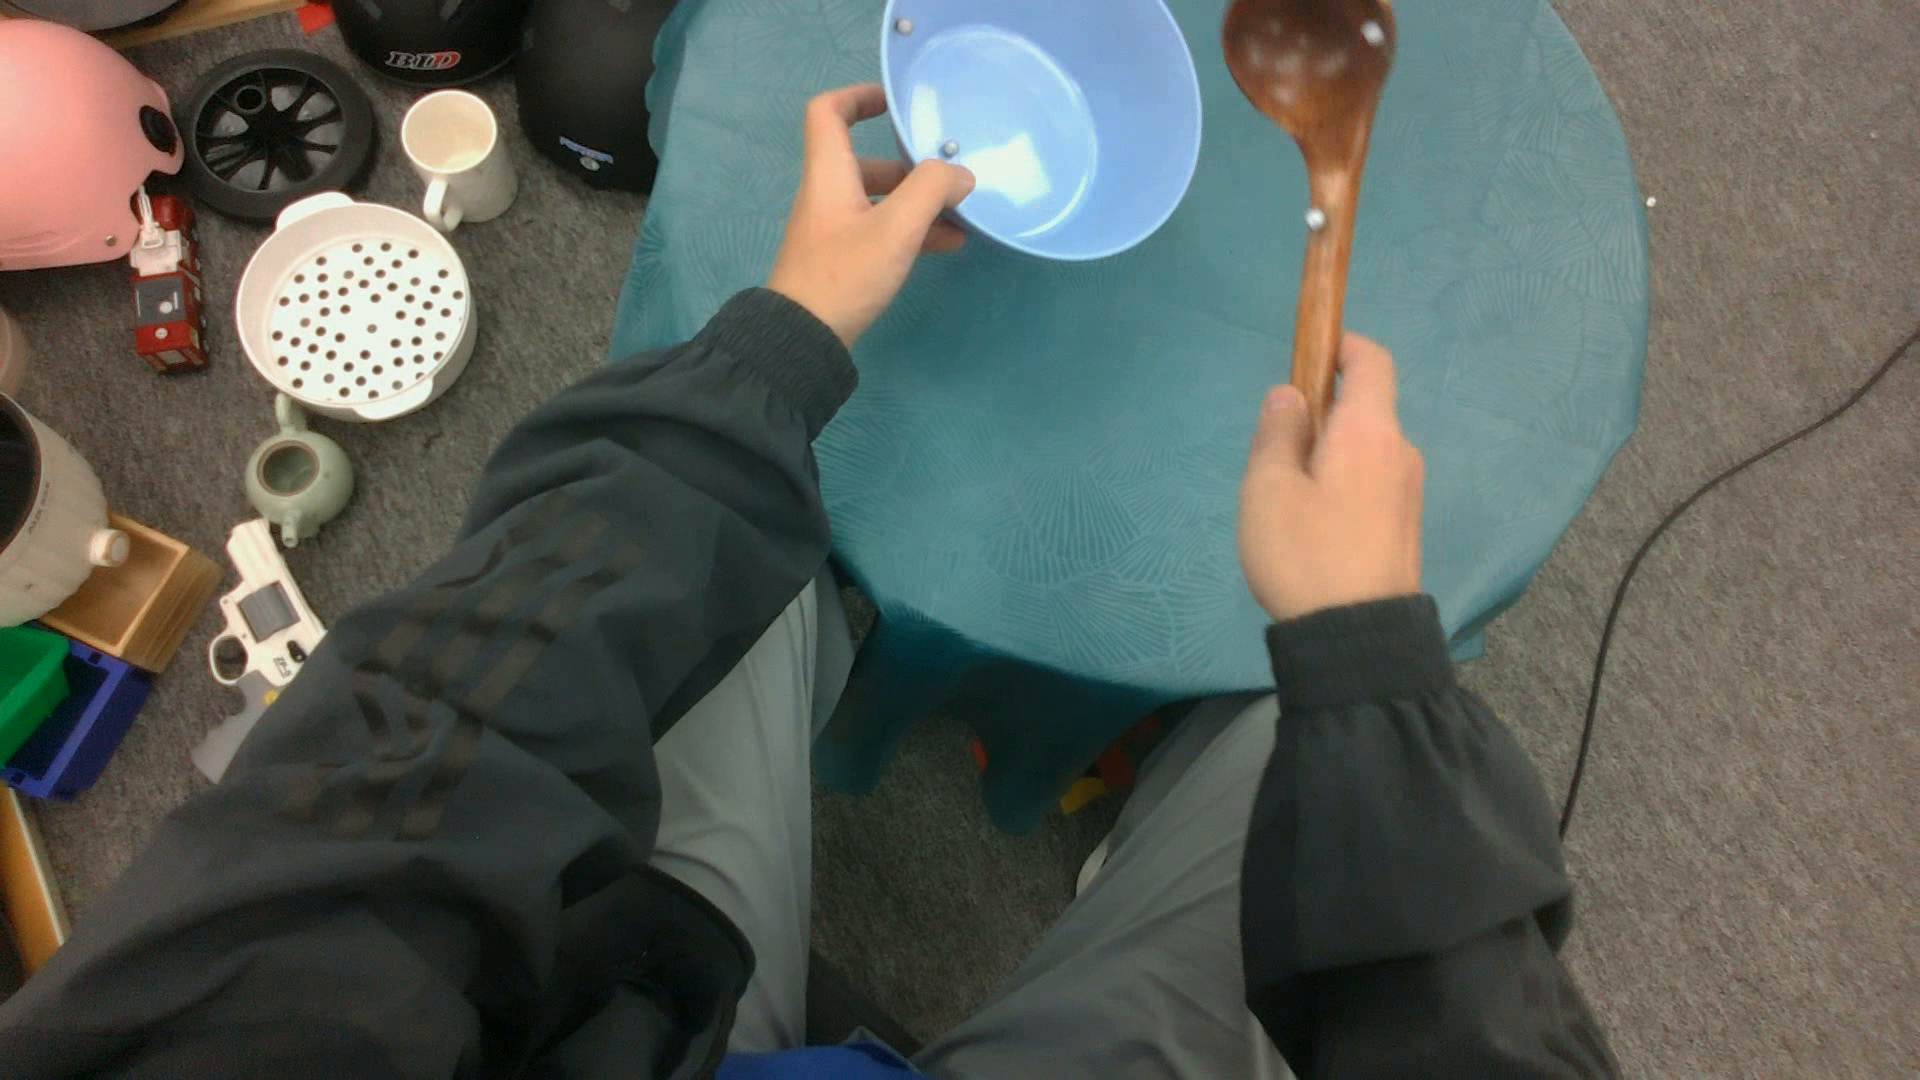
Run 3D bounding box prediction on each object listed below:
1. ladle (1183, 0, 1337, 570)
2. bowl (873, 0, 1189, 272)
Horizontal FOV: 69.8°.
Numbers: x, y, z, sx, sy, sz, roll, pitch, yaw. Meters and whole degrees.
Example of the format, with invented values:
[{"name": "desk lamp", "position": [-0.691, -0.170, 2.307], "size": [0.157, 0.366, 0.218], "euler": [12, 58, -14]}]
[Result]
[{"name": "ladle", "position": [0.122, -0.126, 0.612], "size": [0.076, 0.082, 0.274], "euler": [6, 92, 4]}, {"name": "bowl", "position": [0.028, -0.216, 0.722], "size": [0.176, 0.070, 0.176], "euler": [3, 81, -23]}]
